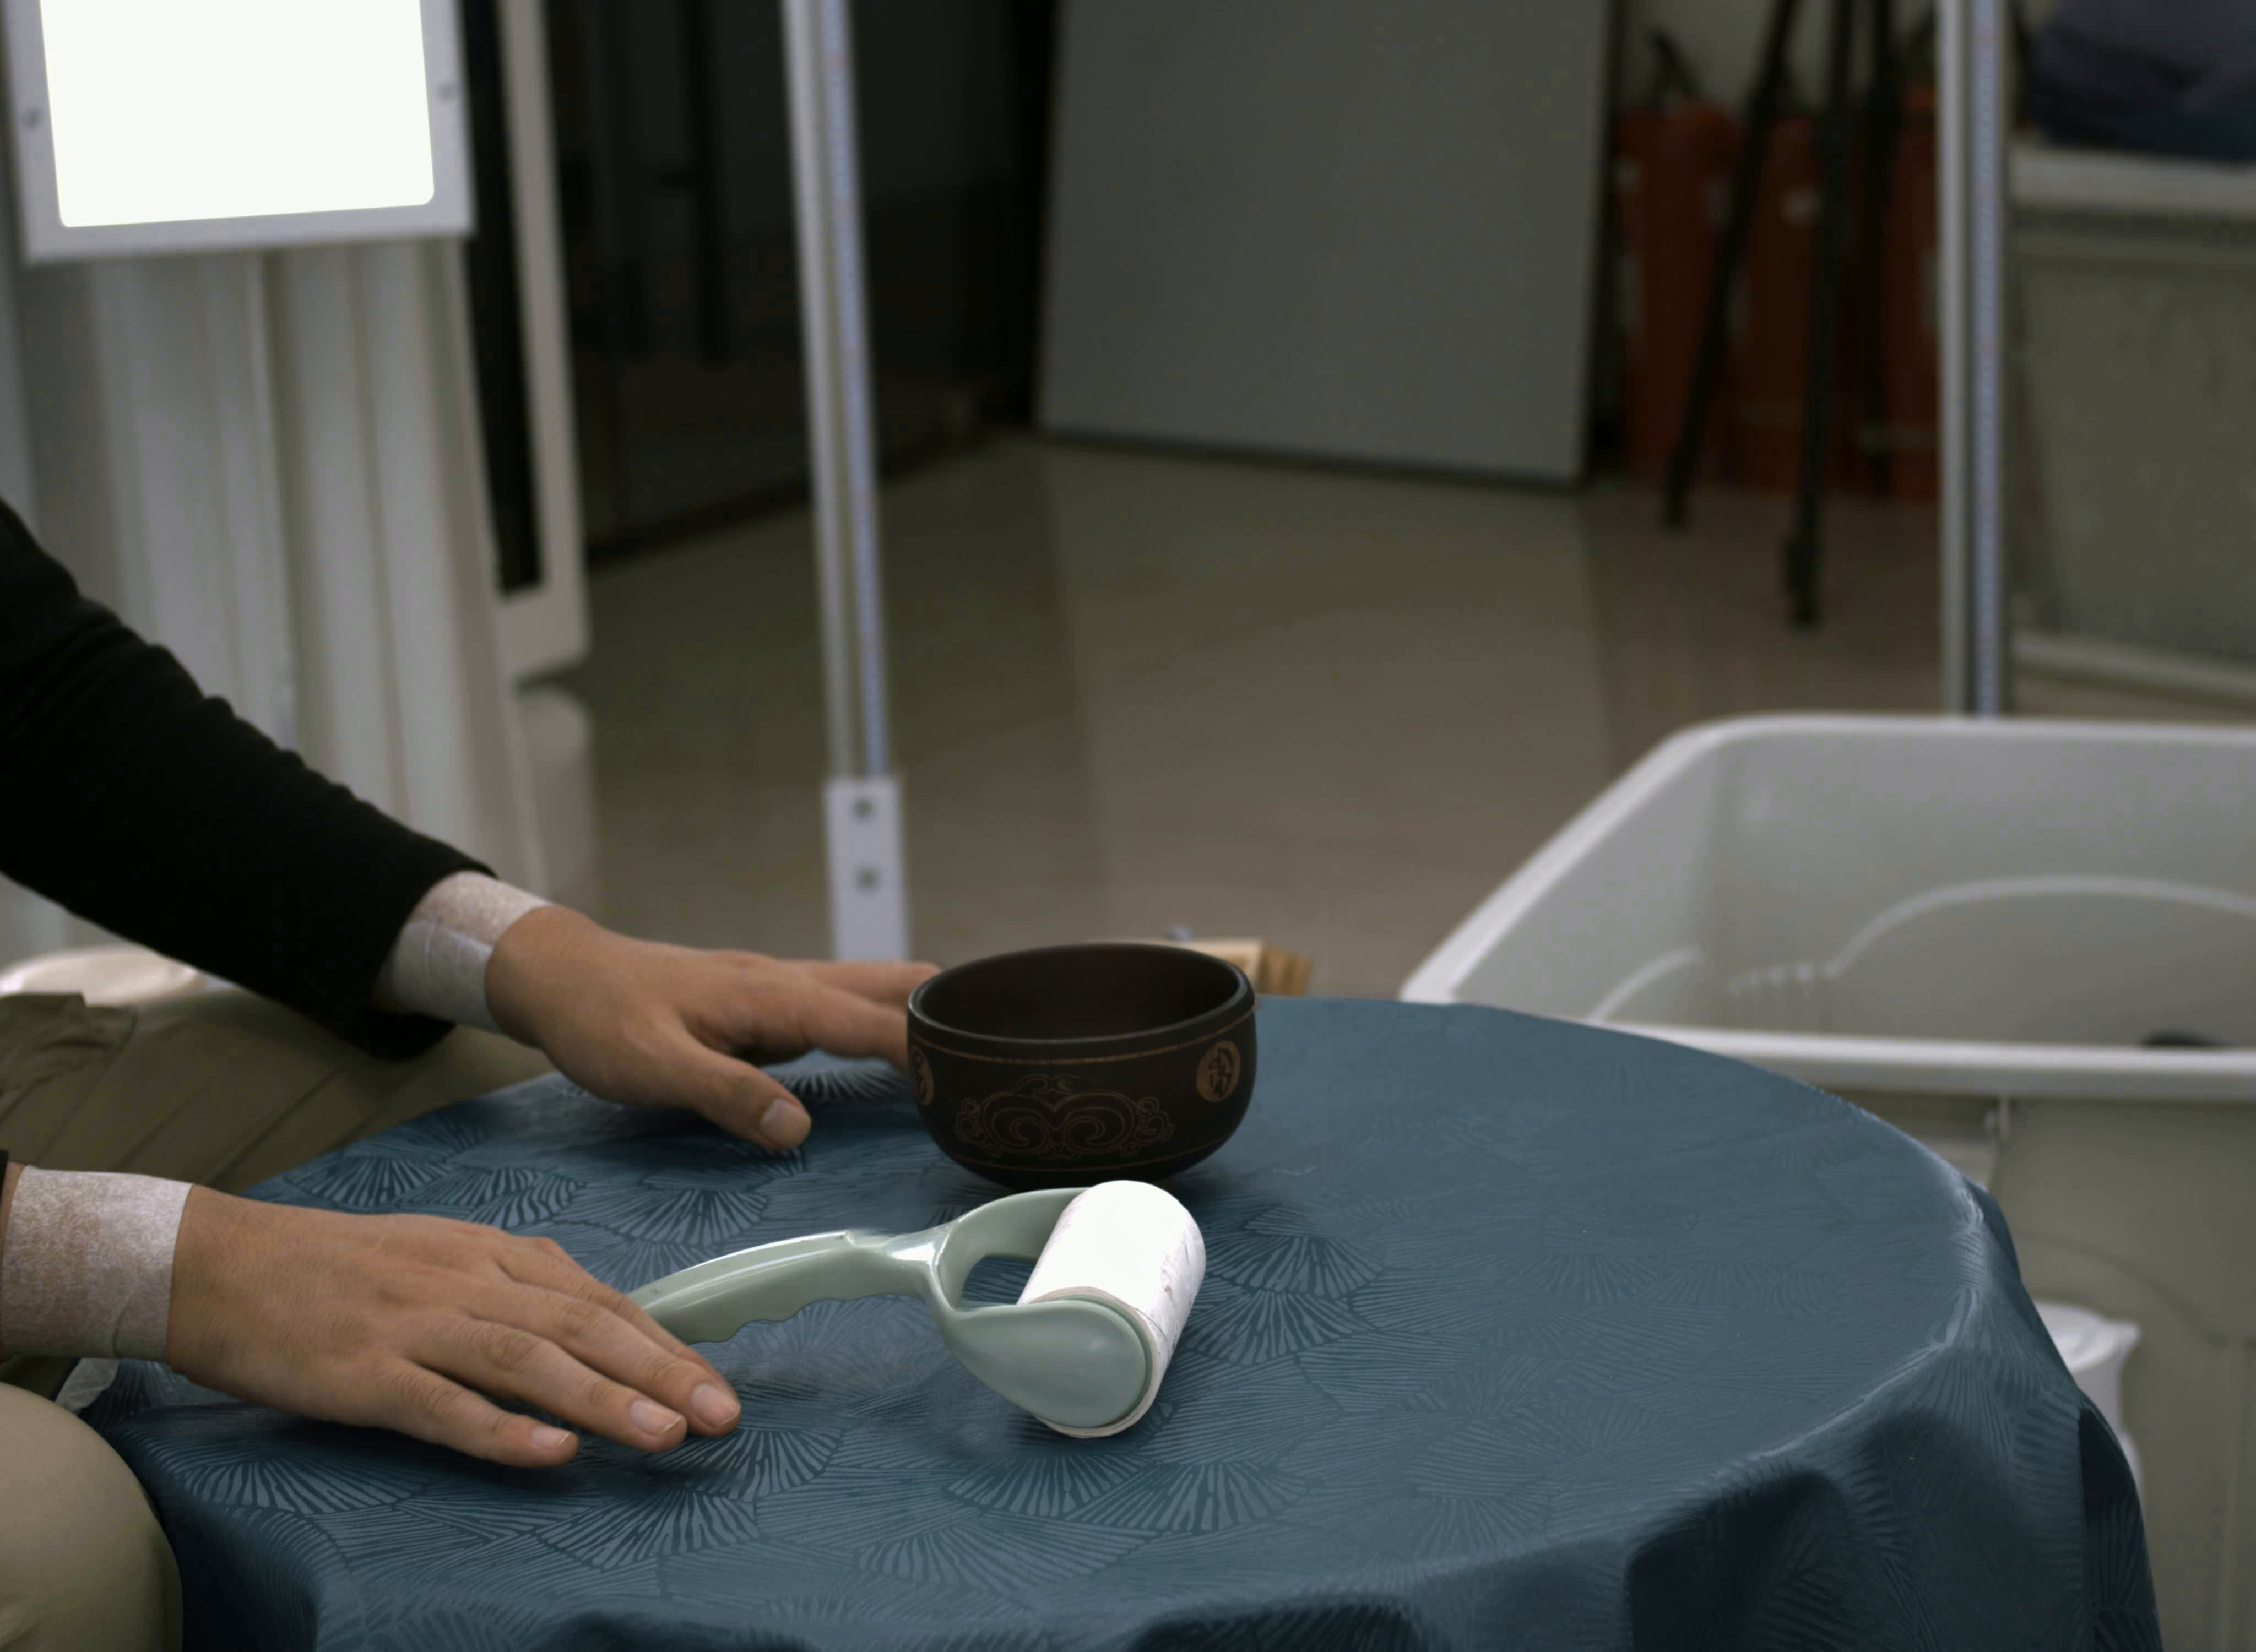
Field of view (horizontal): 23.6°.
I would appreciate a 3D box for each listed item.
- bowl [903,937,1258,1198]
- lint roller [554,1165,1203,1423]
[{"bbox_3d":[-0.014,0.086,1.768,0.116,0.070,0.118,-5,14,0],"label":"bowl"},{"bbox_3d":[-0.076,0.143,1.611,0.196,0.049,0.116,-3,15,10],"label":"lint roller"}]
